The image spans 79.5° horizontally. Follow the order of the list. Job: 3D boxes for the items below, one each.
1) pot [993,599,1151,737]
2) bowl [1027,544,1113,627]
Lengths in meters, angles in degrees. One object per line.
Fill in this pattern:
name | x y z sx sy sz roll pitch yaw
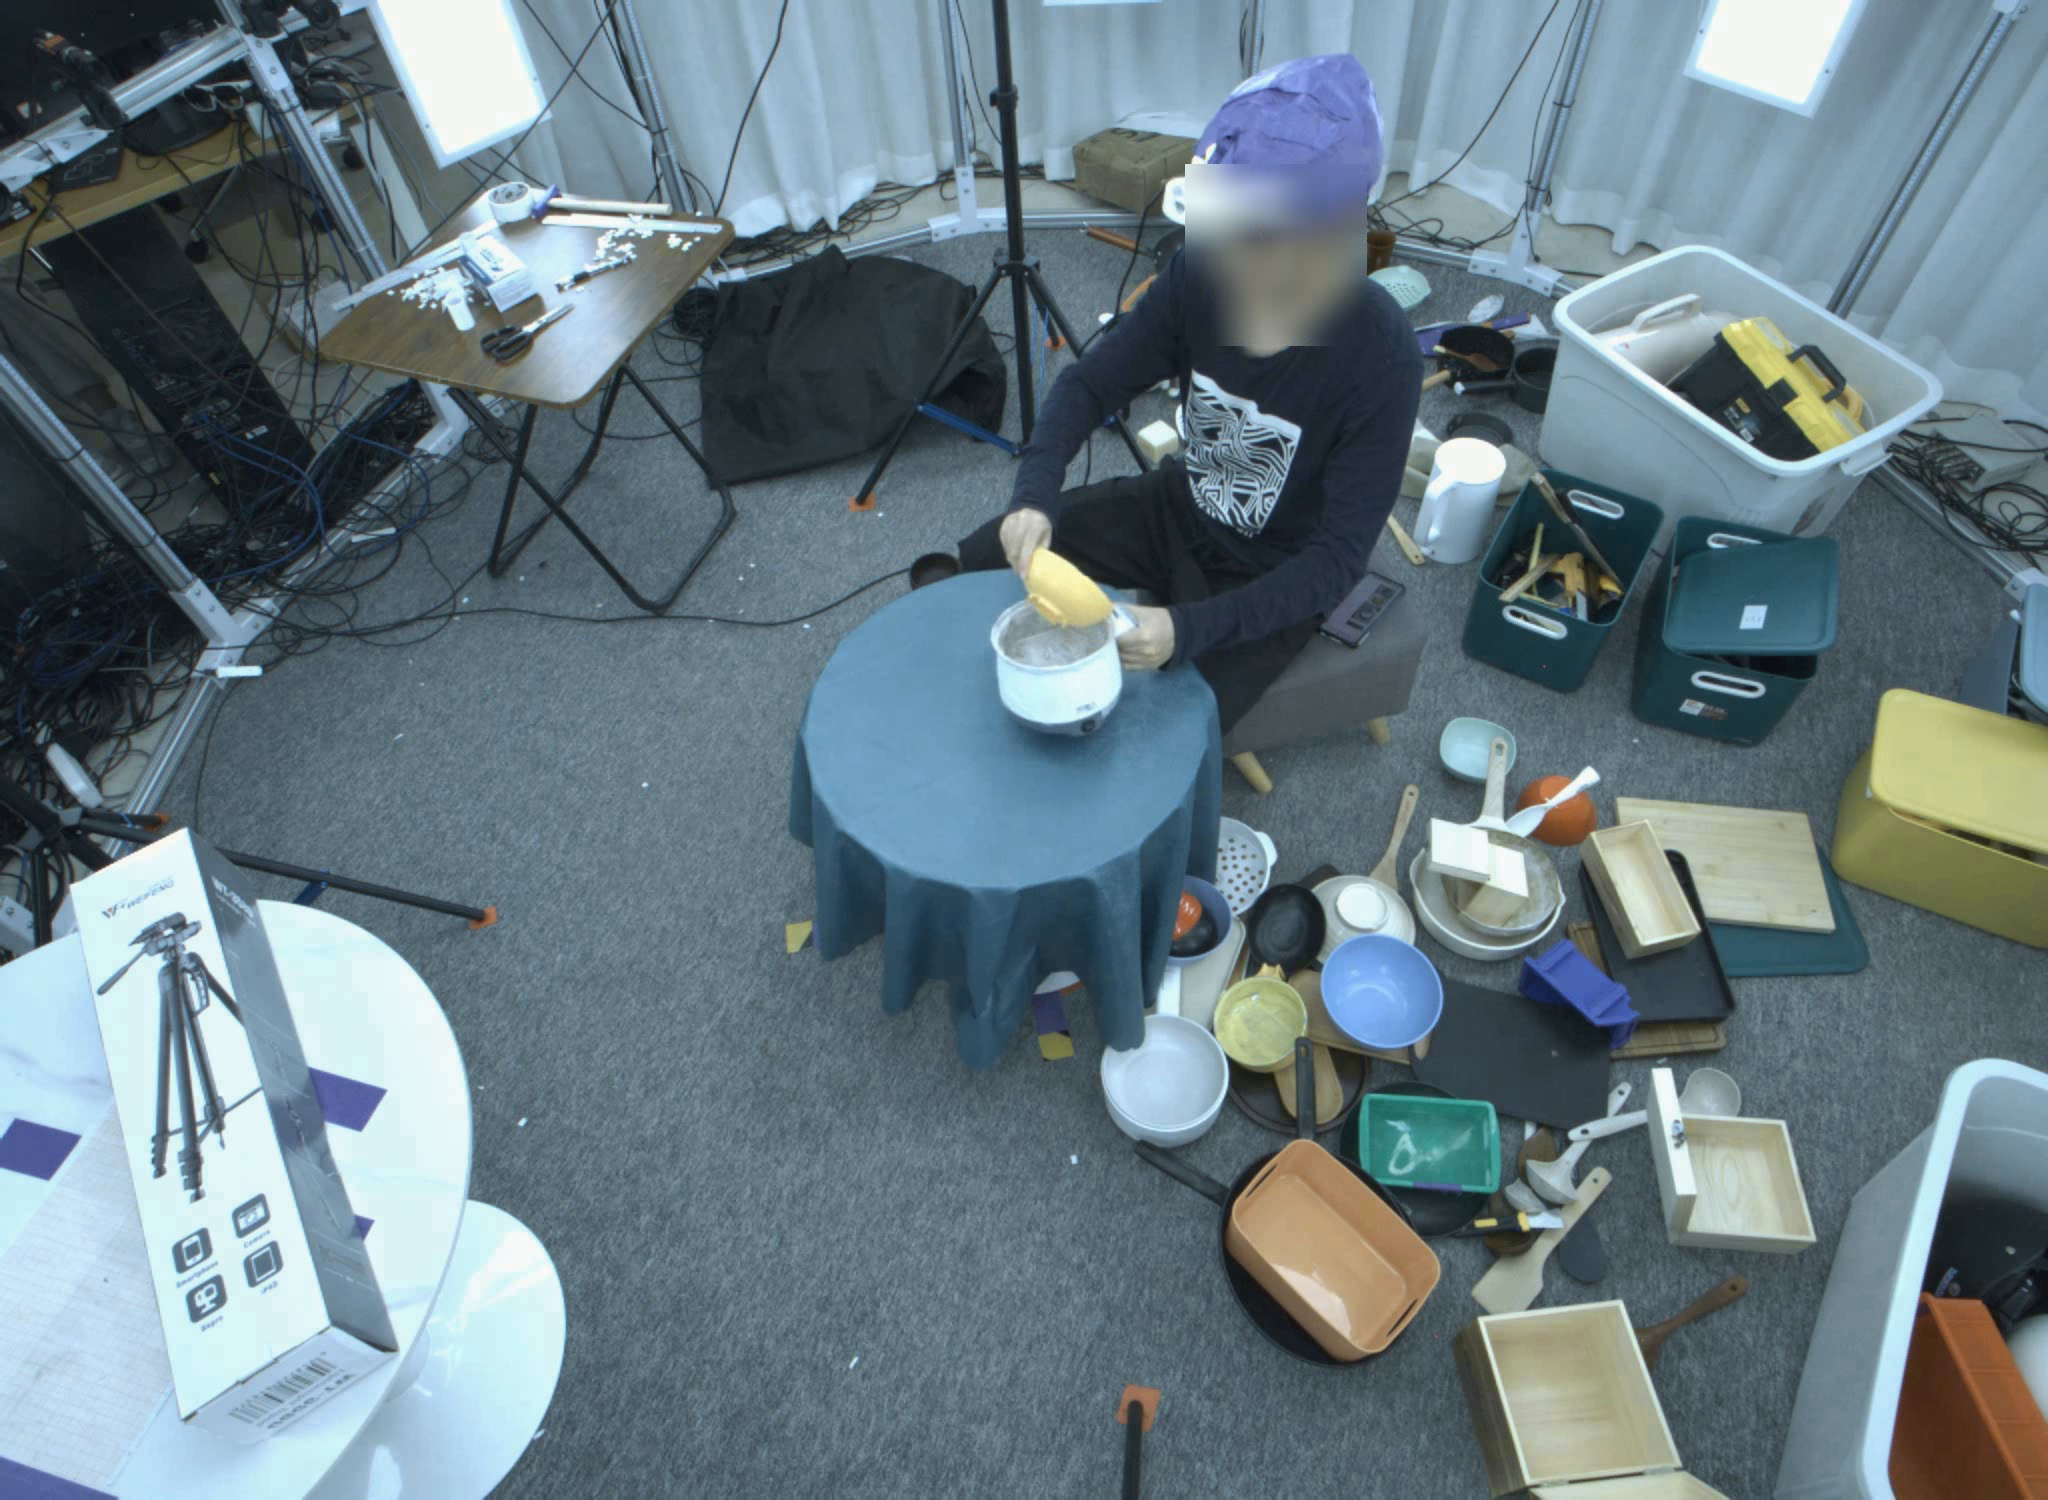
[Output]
pot | 0.074 -0.129 1.773 0.236 0.138 0.175 -21 45 -17
bowl | 0.051 -0.215 1.704 0.143 0.148 0.060 39 87 26
